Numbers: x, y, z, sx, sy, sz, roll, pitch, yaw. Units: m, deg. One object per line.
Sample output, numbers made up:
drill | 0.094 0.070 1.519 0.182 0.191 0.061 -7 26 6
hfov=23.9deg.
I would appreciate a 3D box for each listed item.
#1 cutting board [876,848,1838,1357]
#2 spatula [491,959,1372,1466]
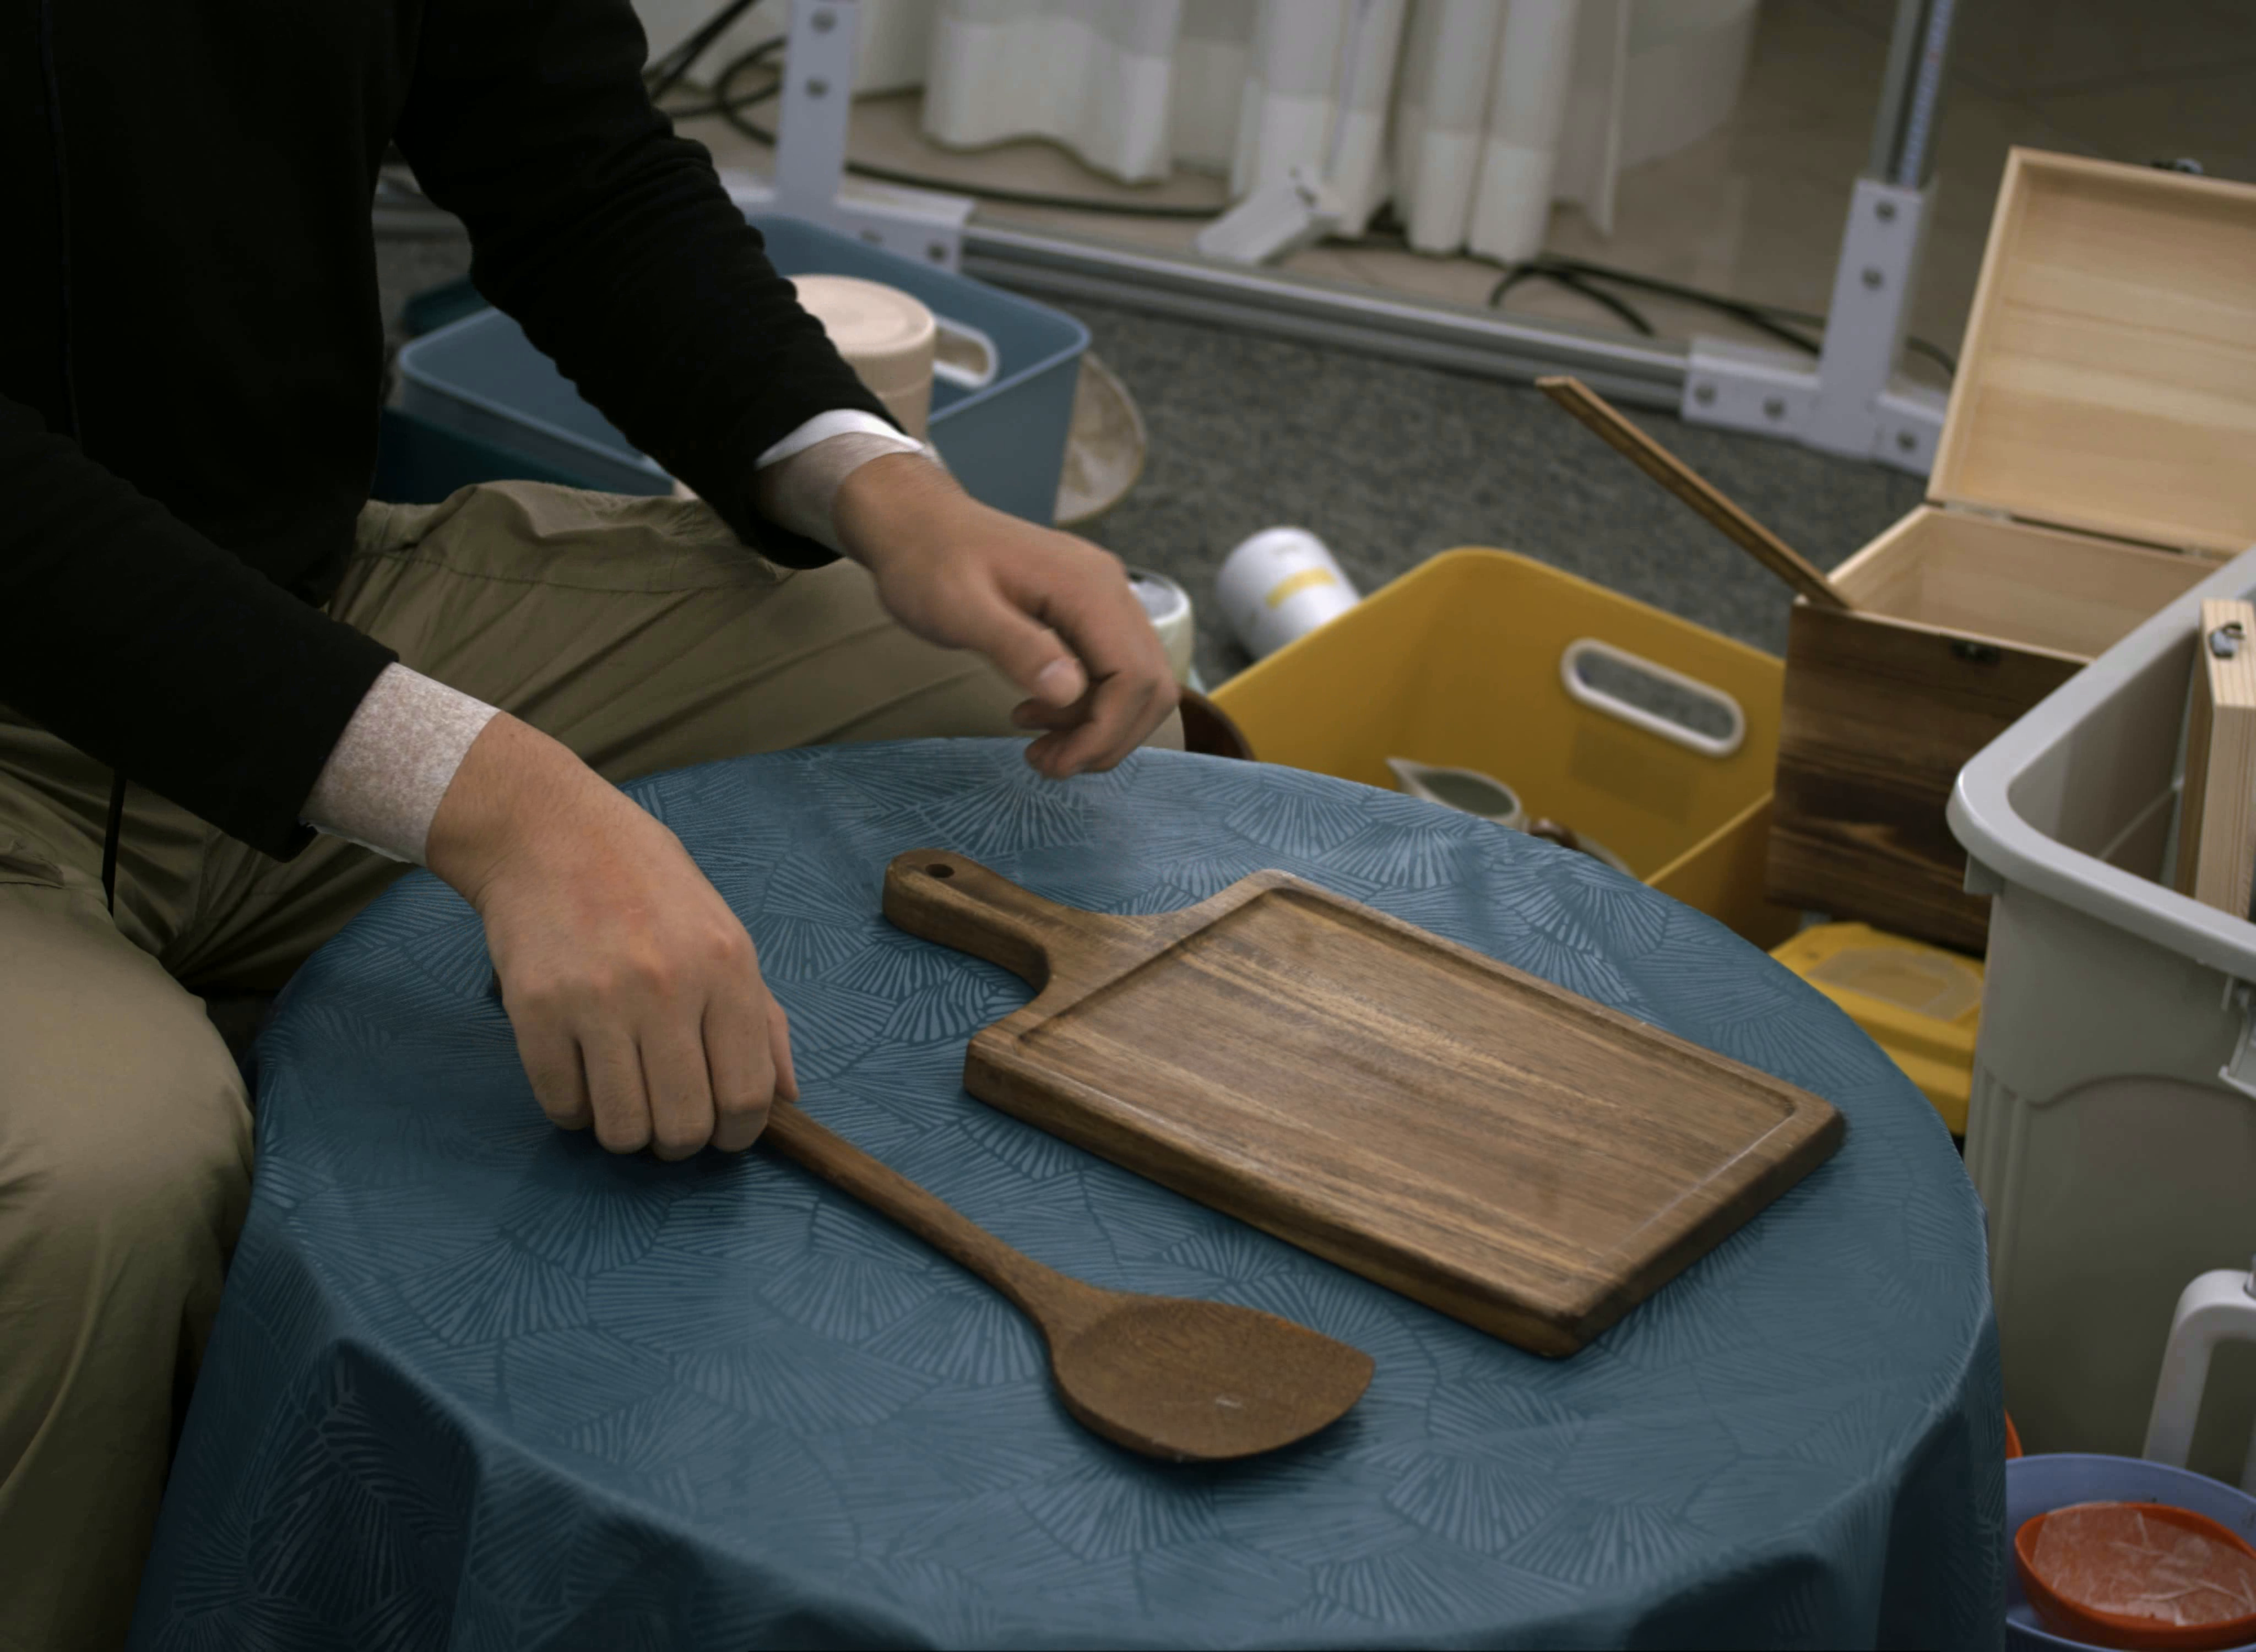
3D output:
cutting board | 0.056 0.077 1.882 0.354 0.023 0.200 23 31 28
spatula | -0.083 0.120 1.773 0.389 0.016 0.095 28 33 36
